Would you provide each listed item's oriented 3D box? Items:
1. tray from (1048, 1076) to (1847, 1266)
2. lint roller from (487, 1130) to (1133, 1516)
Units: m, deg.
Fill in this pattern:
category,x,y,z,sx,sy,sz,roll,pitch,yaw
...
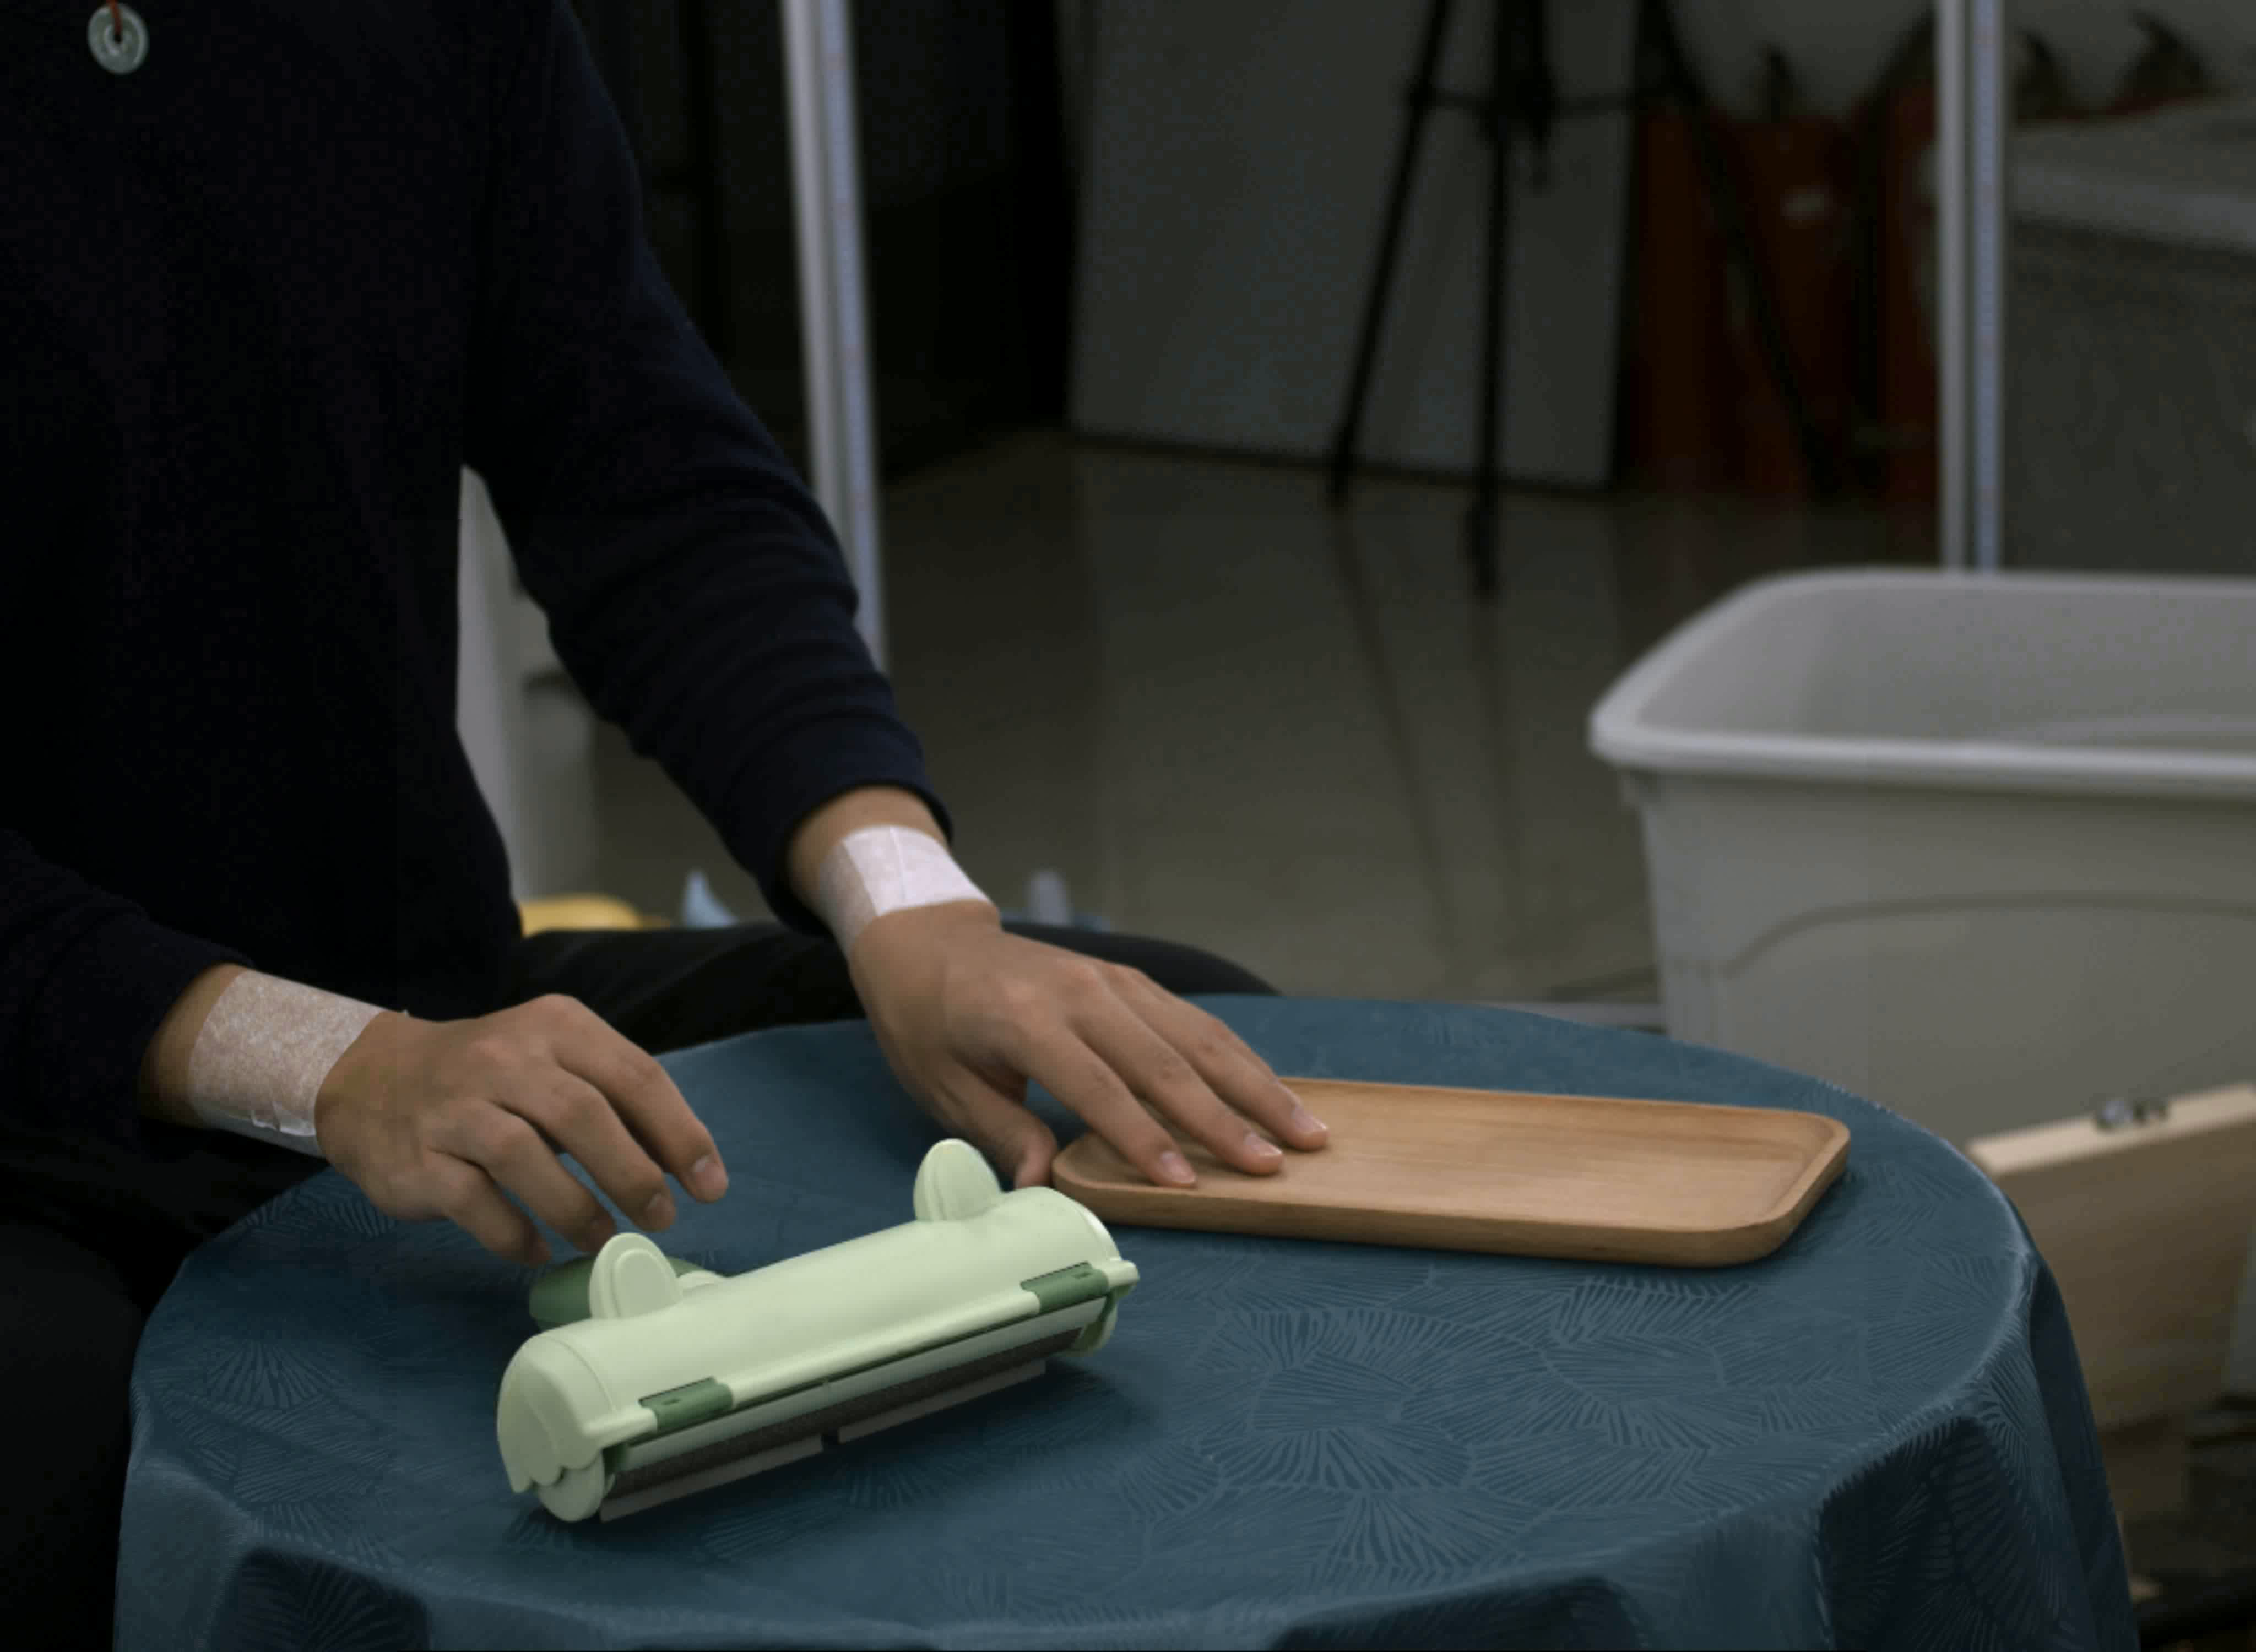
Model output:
category,x,y,z,sx,sy,sz,roll,pitch,yaw
tray,0.103,0.111,1.747,0.251,0.023,0.129,1,13,24
lint roller,-0.126,0.129,1.593,0.194,0.083,0.185,-14,22,-37
